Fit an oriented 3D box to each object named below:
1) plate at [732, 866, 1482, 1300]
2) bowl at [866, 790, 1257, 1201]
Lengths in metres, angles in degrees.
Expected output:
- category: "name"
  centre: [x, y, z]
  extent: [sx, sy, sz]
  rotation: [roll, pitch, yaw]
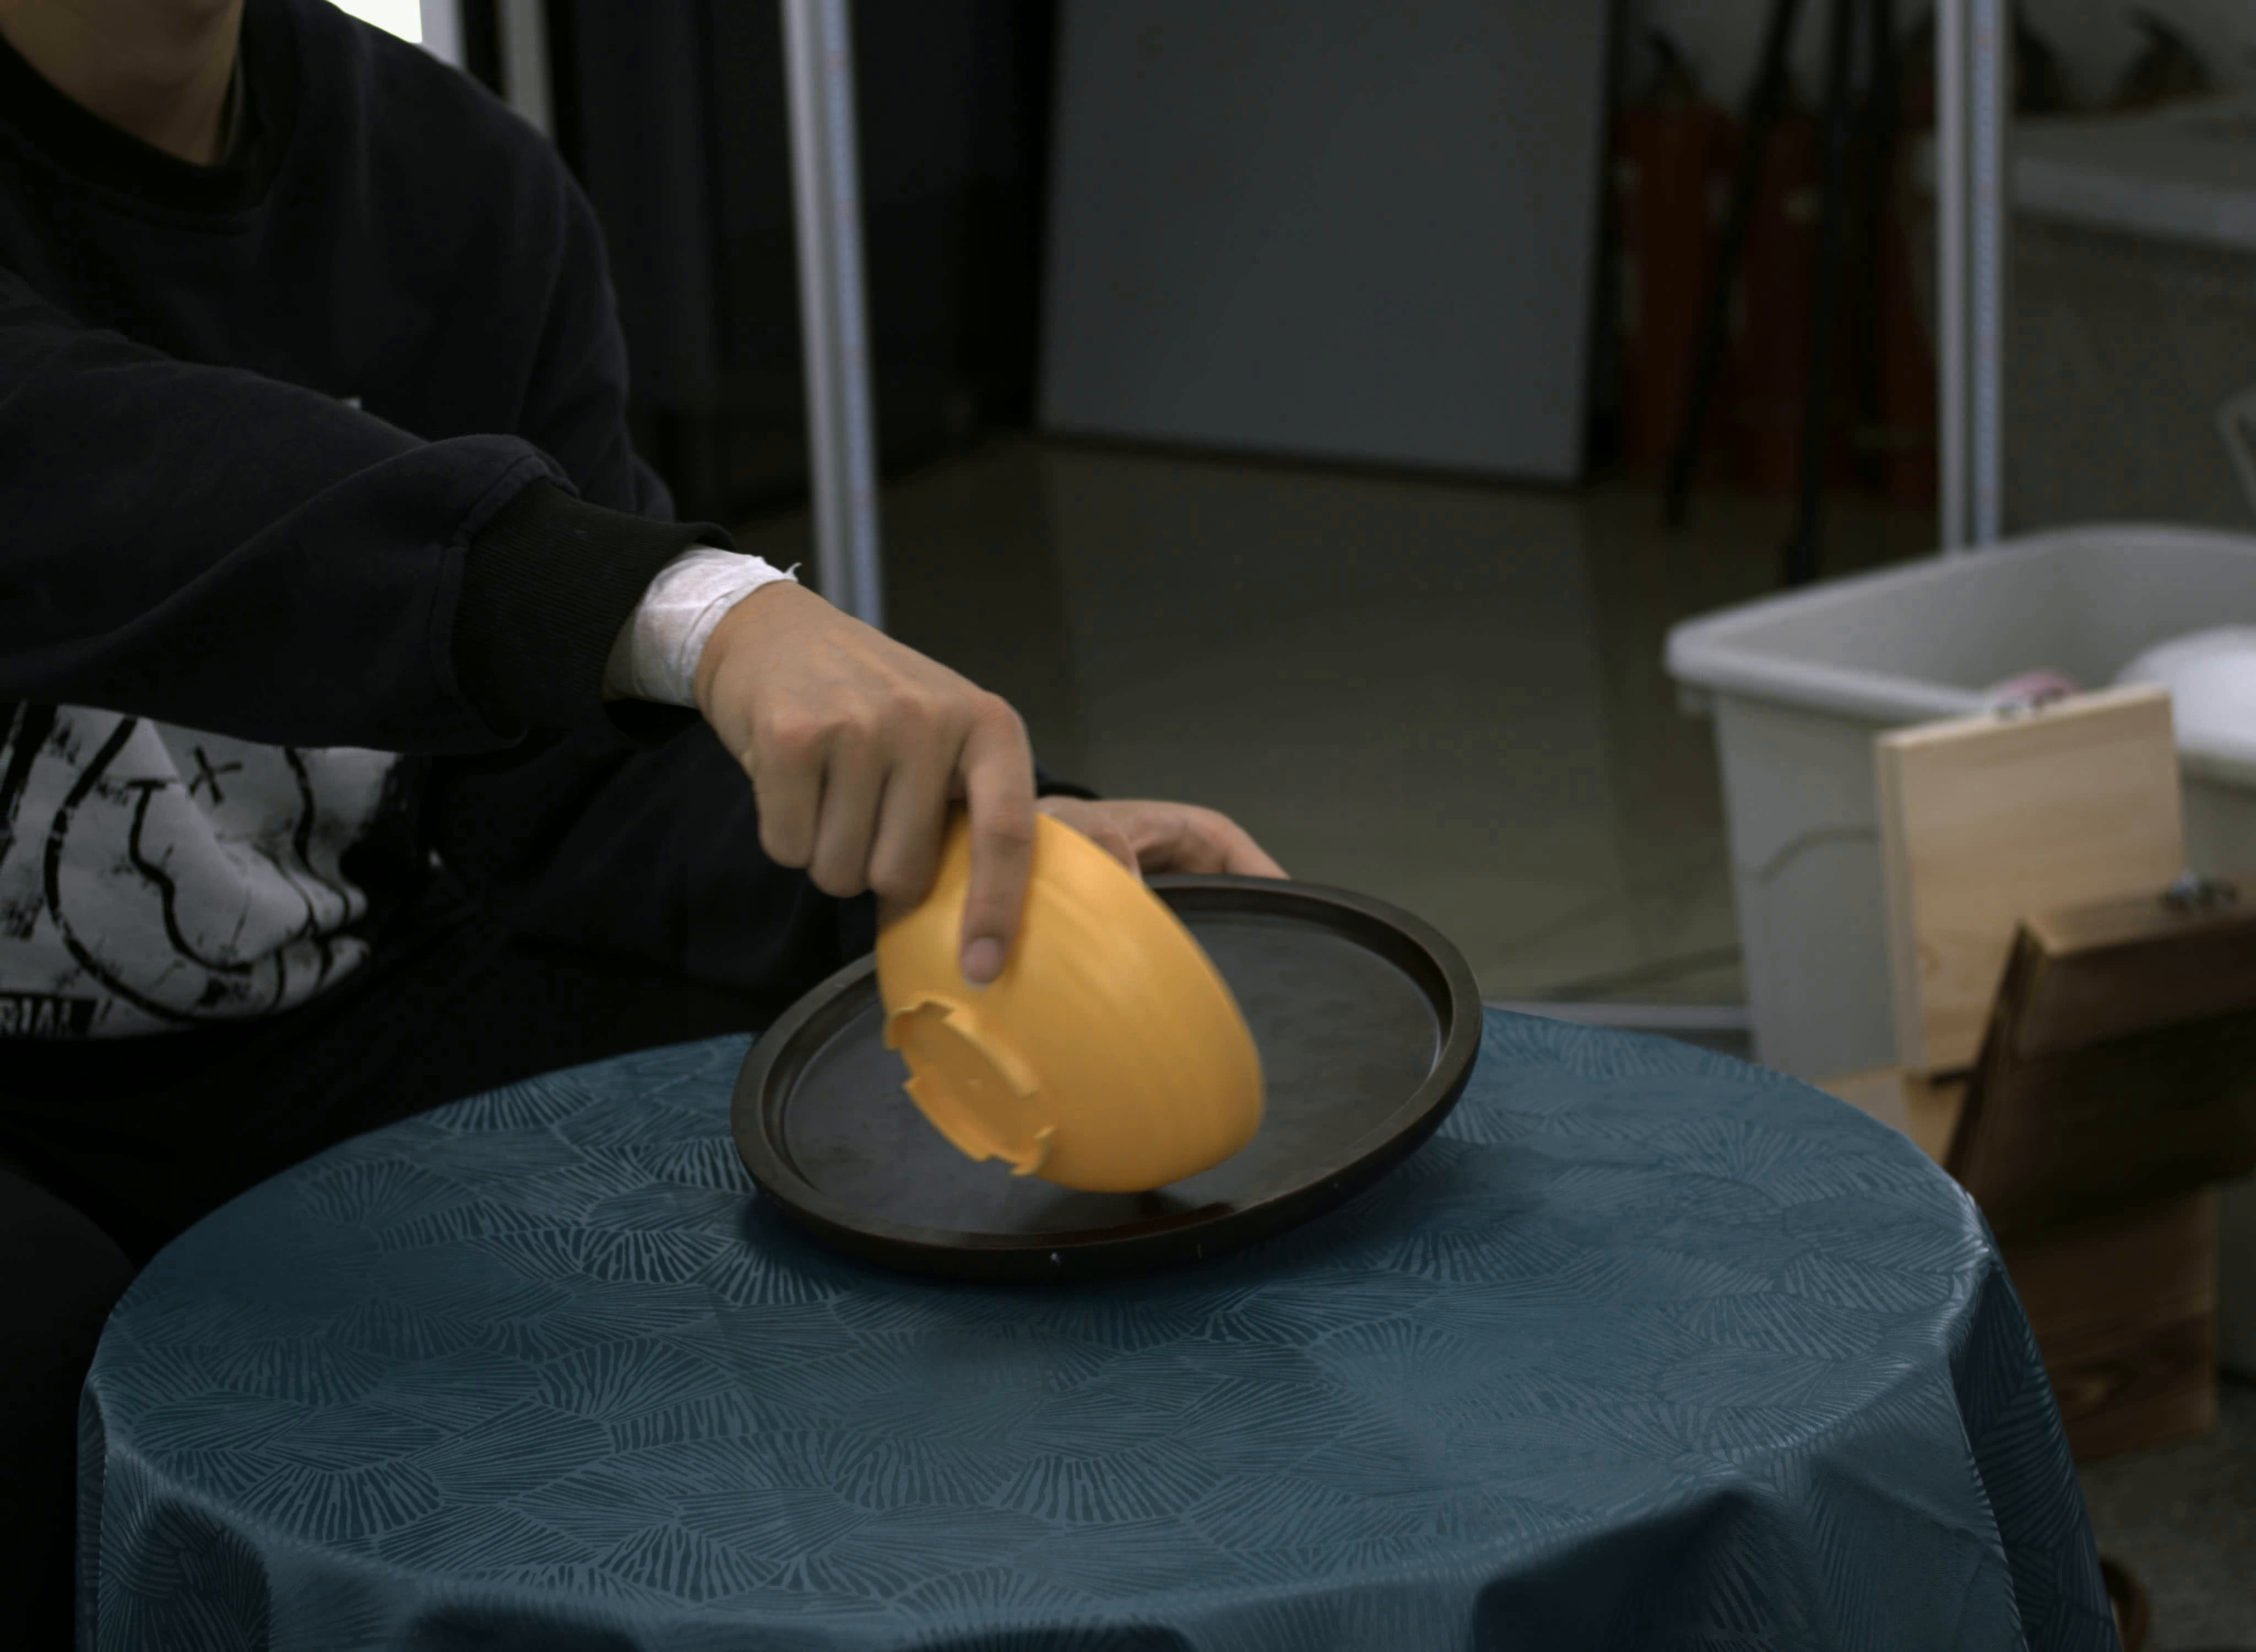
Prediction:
- category: "plate"
  centre: [-0.006, 0.083, 1.778]
  extent: [0.252, 0.029, 0.256]
  rotation: [-11, 26, 4]
- category: "bowl"
  centre: [-0.033, 0.065, 1.652]
  extent: [0.147, 0.145, 0.059]
  rotation: [12, 44, 47]
